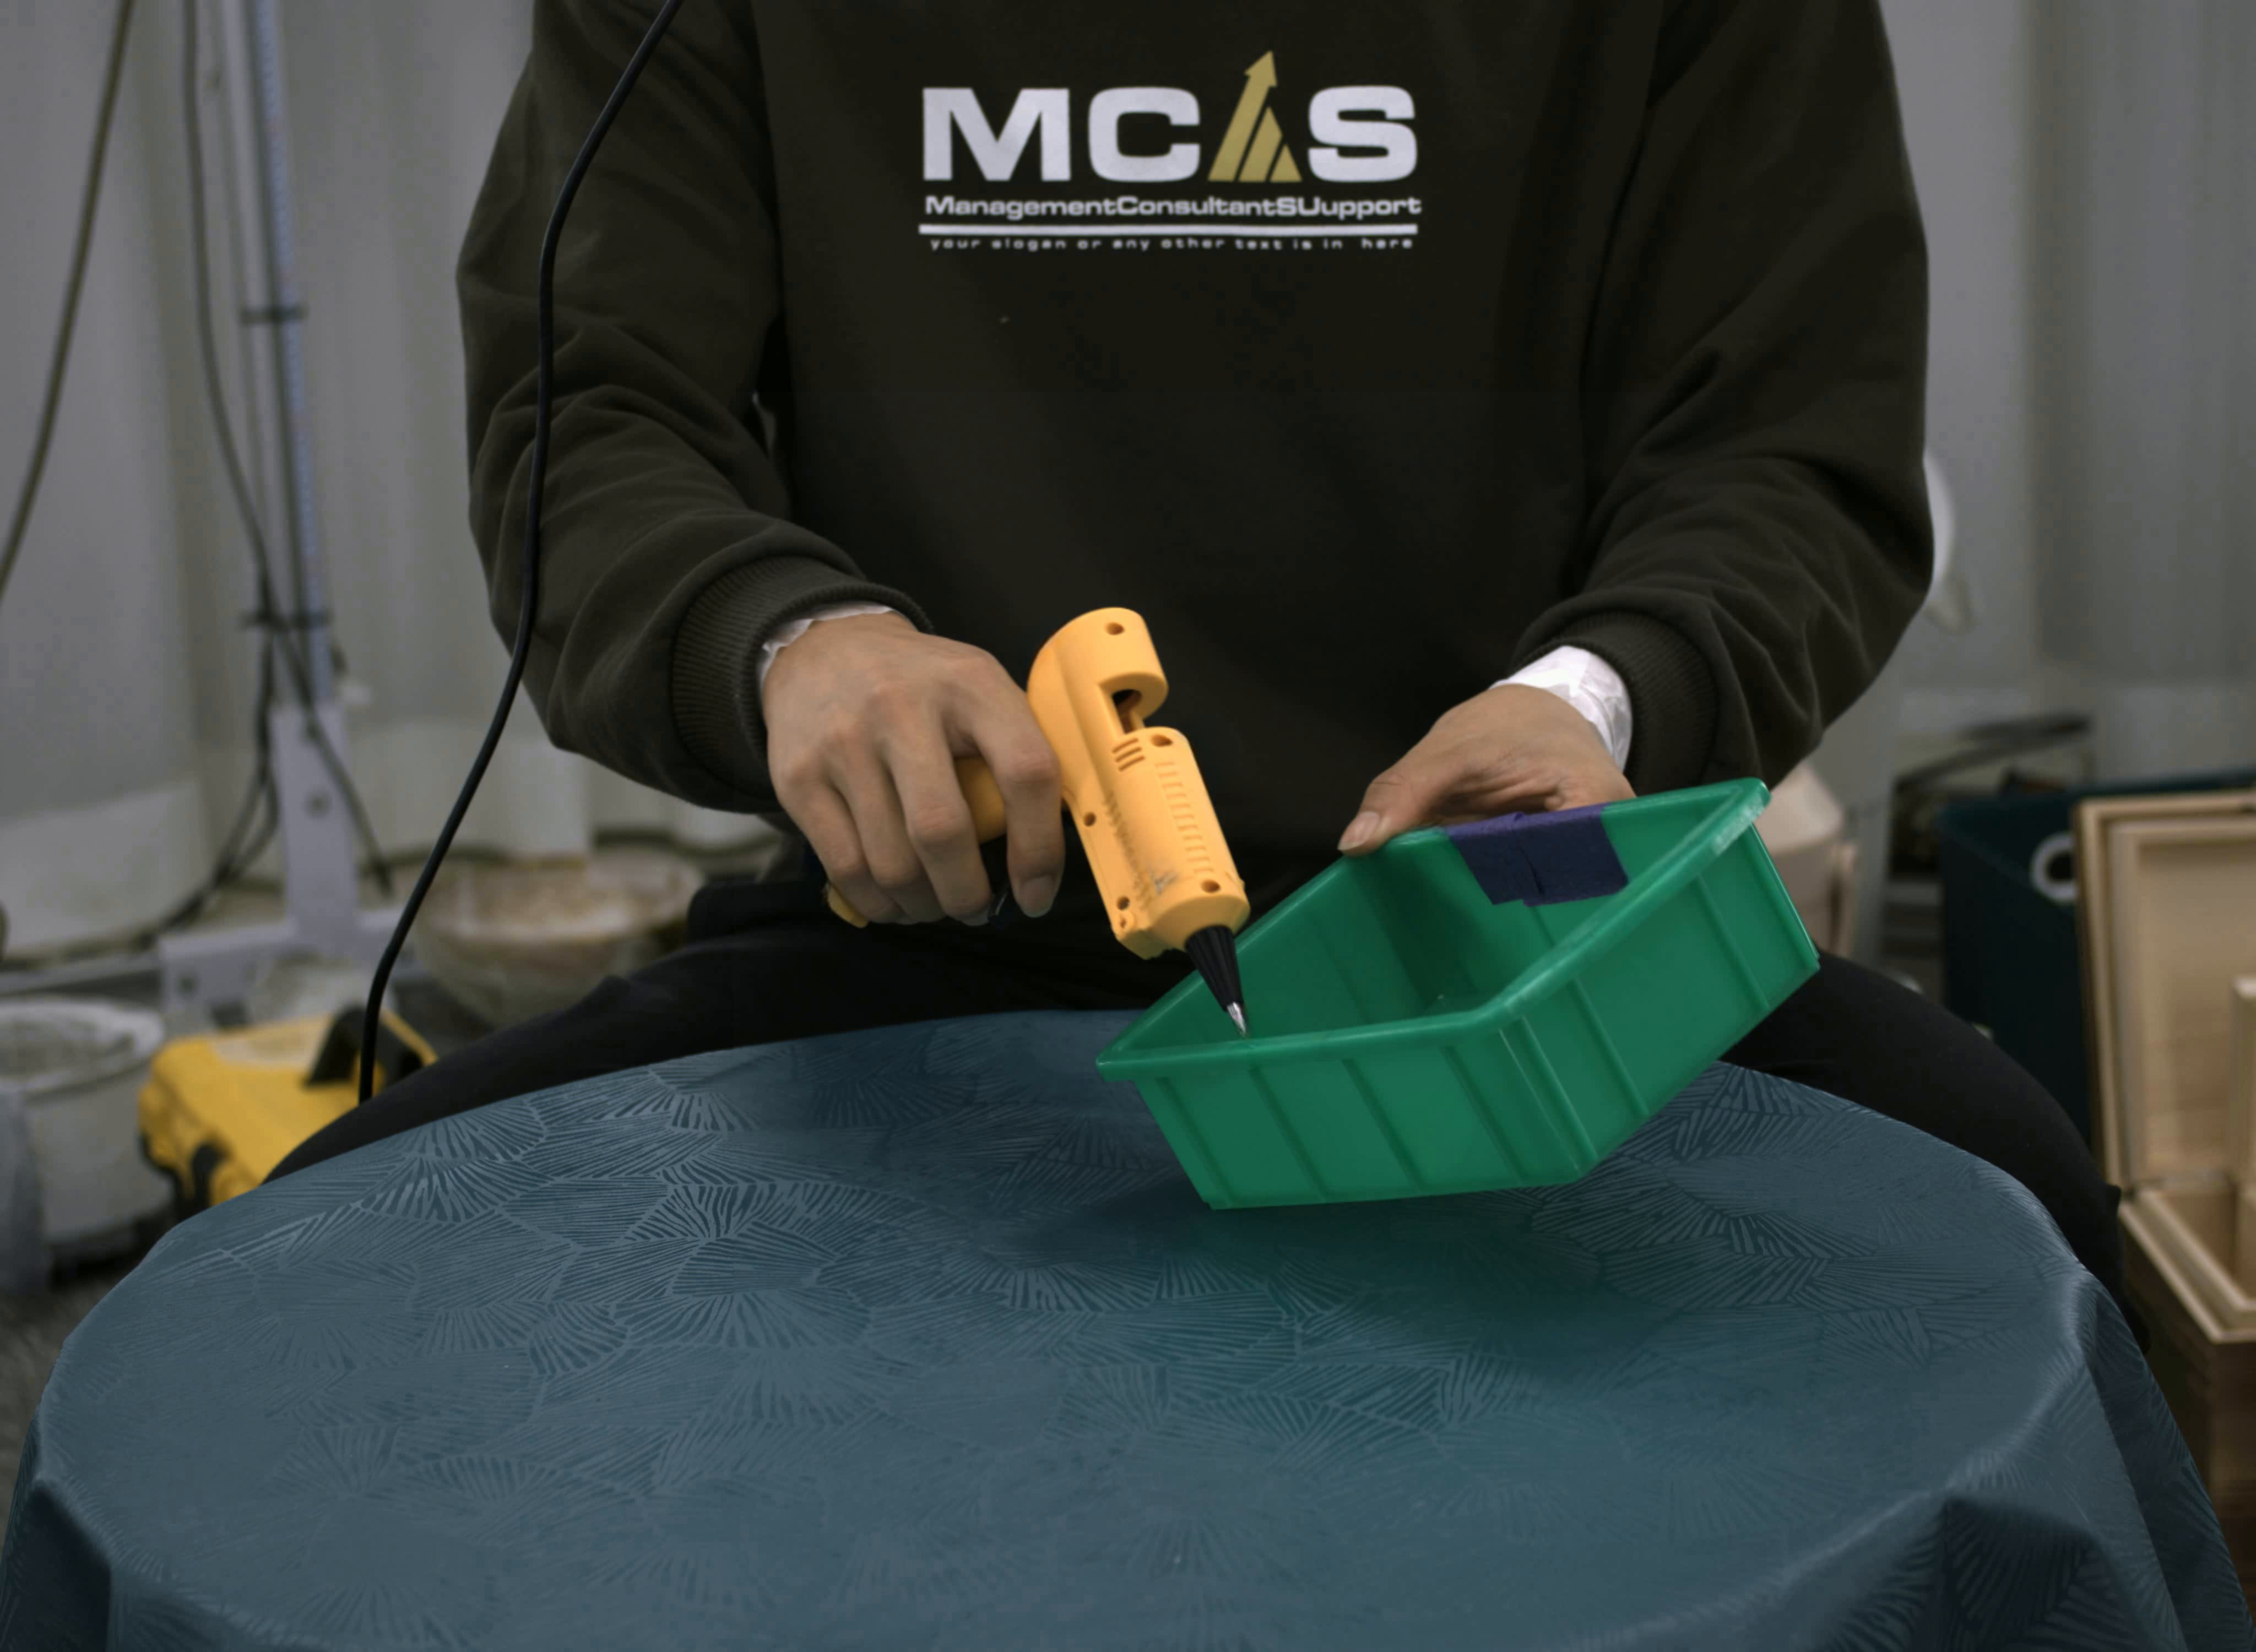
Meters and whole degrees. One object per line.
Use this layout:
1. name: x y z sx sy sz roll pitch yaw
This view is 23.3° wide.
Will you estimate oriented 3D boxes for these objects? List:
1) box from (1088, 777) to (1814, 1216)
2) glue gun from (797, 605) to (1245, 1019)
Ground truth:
1. box: 0.100 0.056 1.651 0.139 0.065 0.210 -35 13 -35
2. glue gun: -0.026 0.022 1.688 0.132 0.153 0.031 -34 -36 13
